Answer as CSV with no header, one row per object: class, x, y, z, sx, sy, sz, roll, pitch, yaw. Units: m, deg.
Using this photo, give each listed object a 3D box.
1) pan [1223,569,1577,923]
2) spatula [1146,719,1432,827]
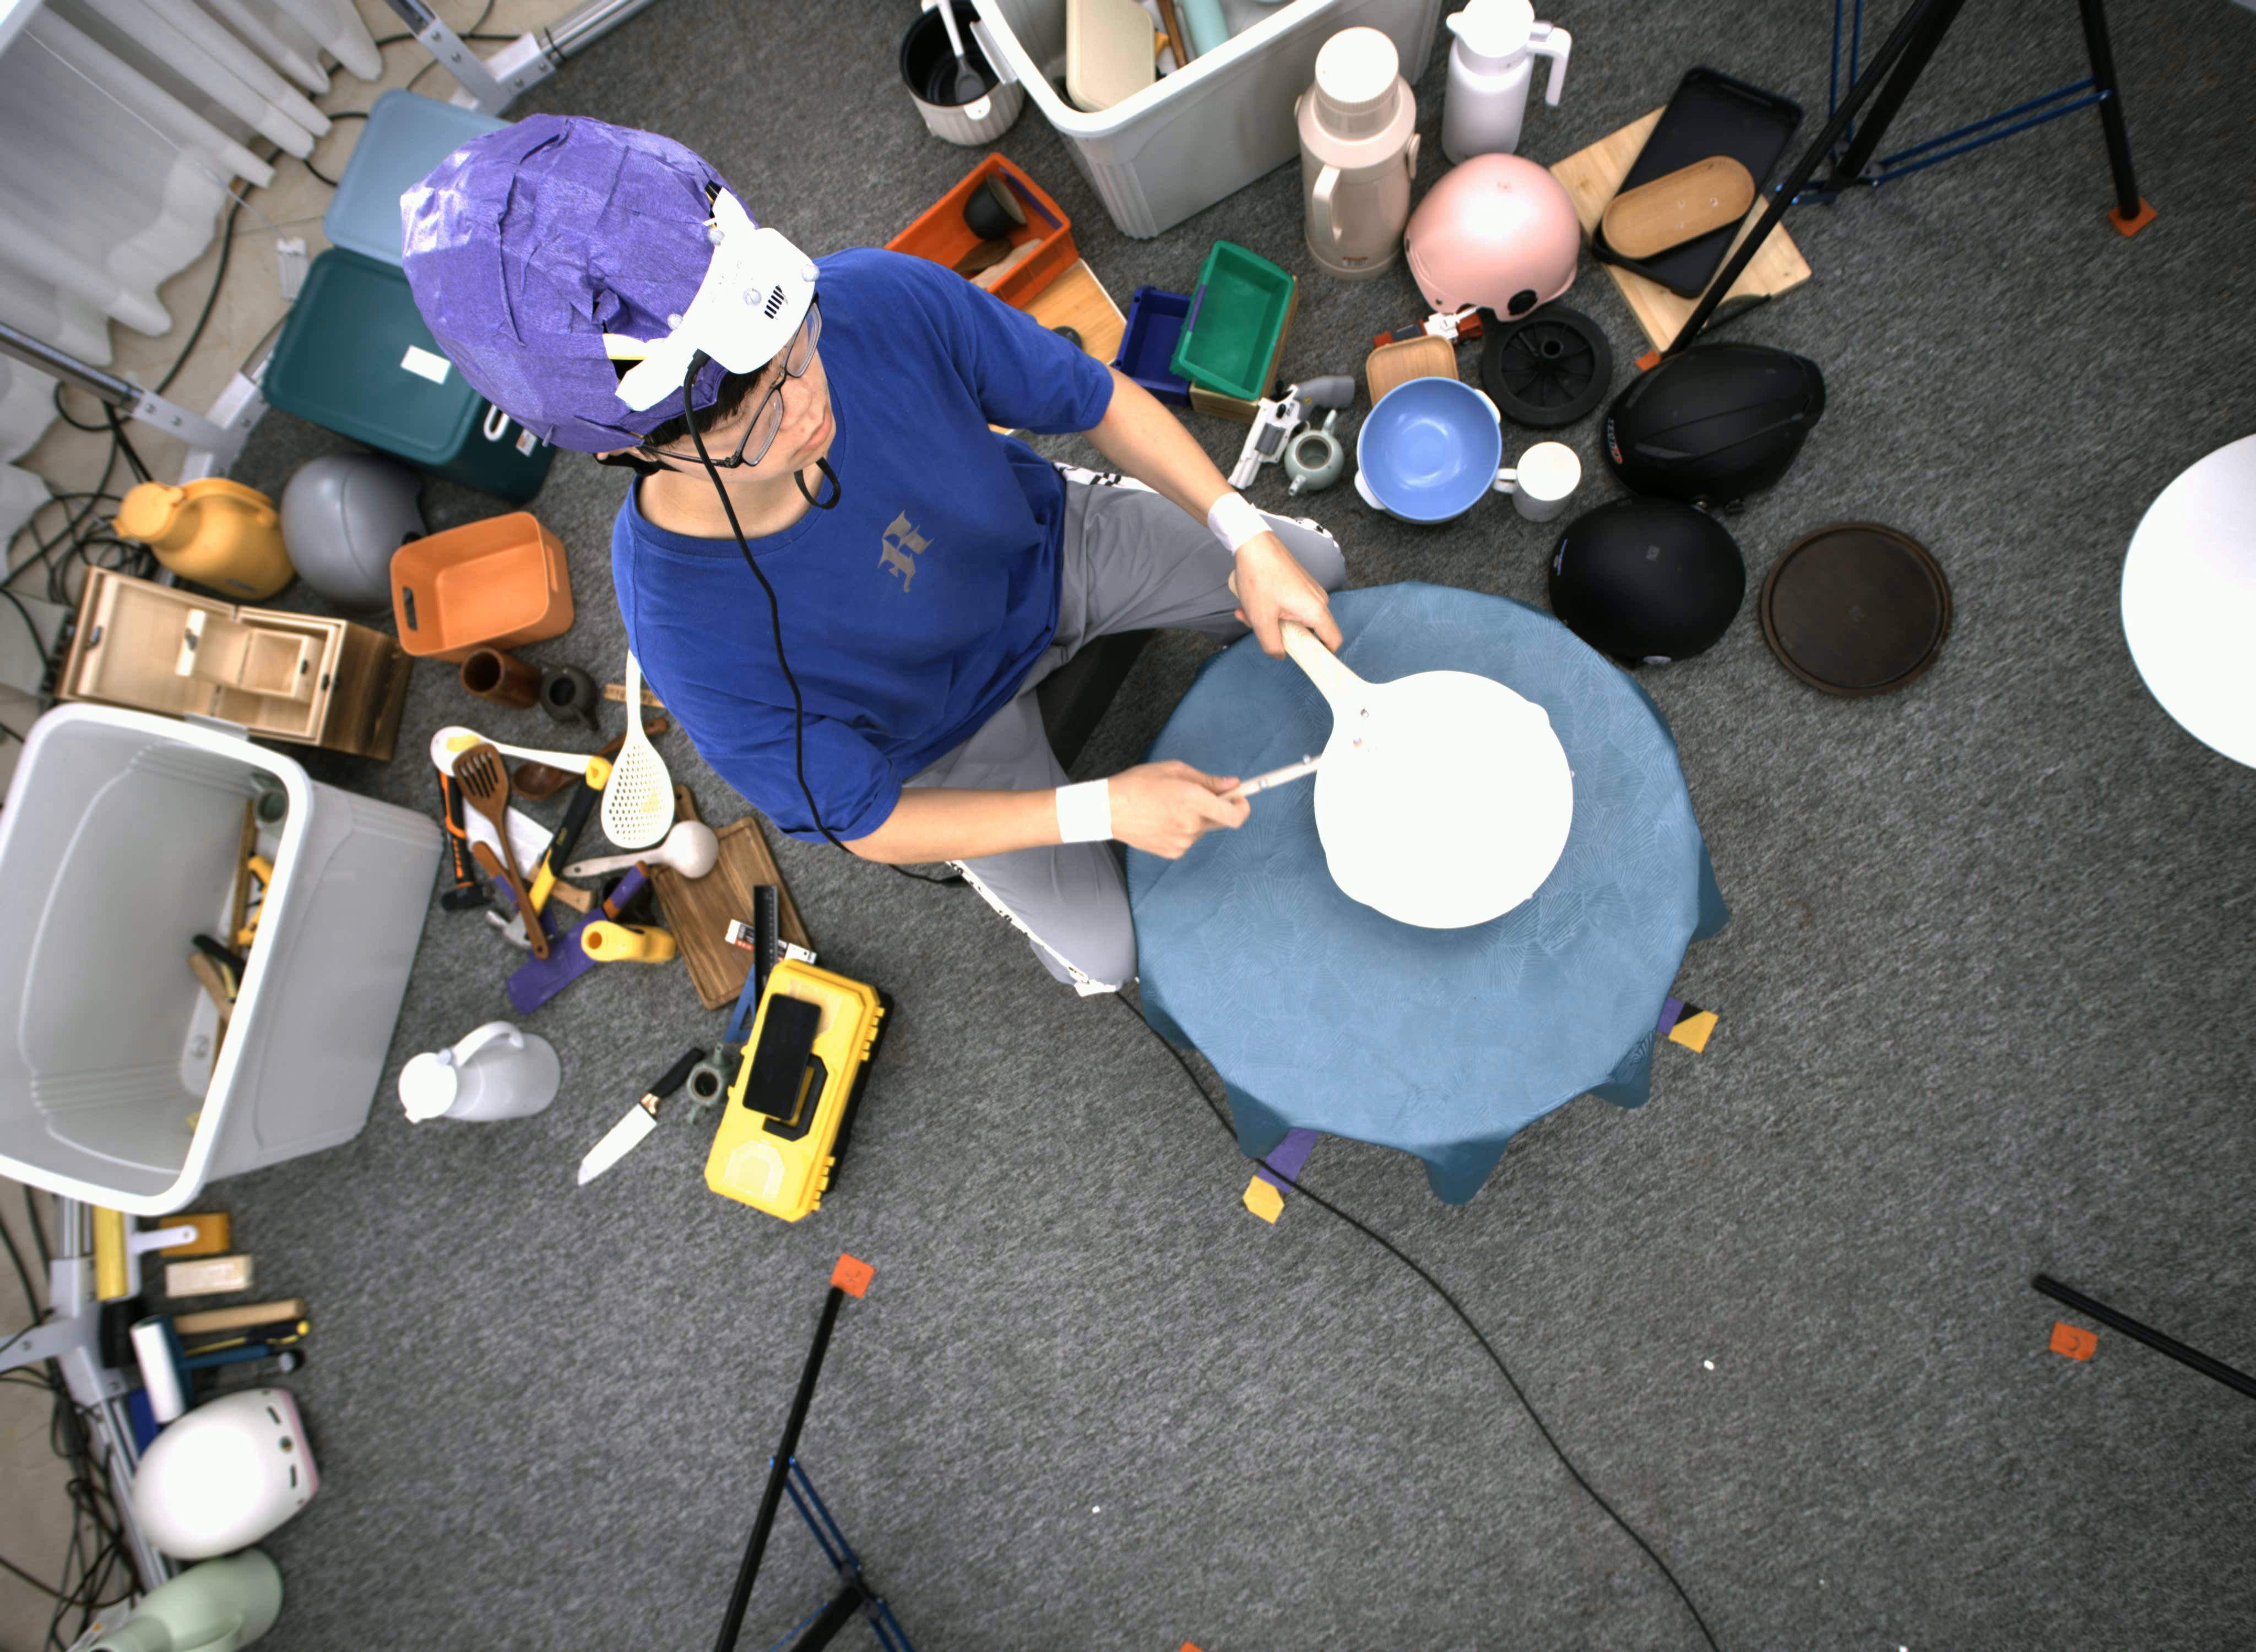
pan,0.261,-0.100,1.386,0.267,0.101,0.432,-45,78,21
spatula,0.153,-0.048,1.341,0.295,0.071,0.011,-19,105,14
